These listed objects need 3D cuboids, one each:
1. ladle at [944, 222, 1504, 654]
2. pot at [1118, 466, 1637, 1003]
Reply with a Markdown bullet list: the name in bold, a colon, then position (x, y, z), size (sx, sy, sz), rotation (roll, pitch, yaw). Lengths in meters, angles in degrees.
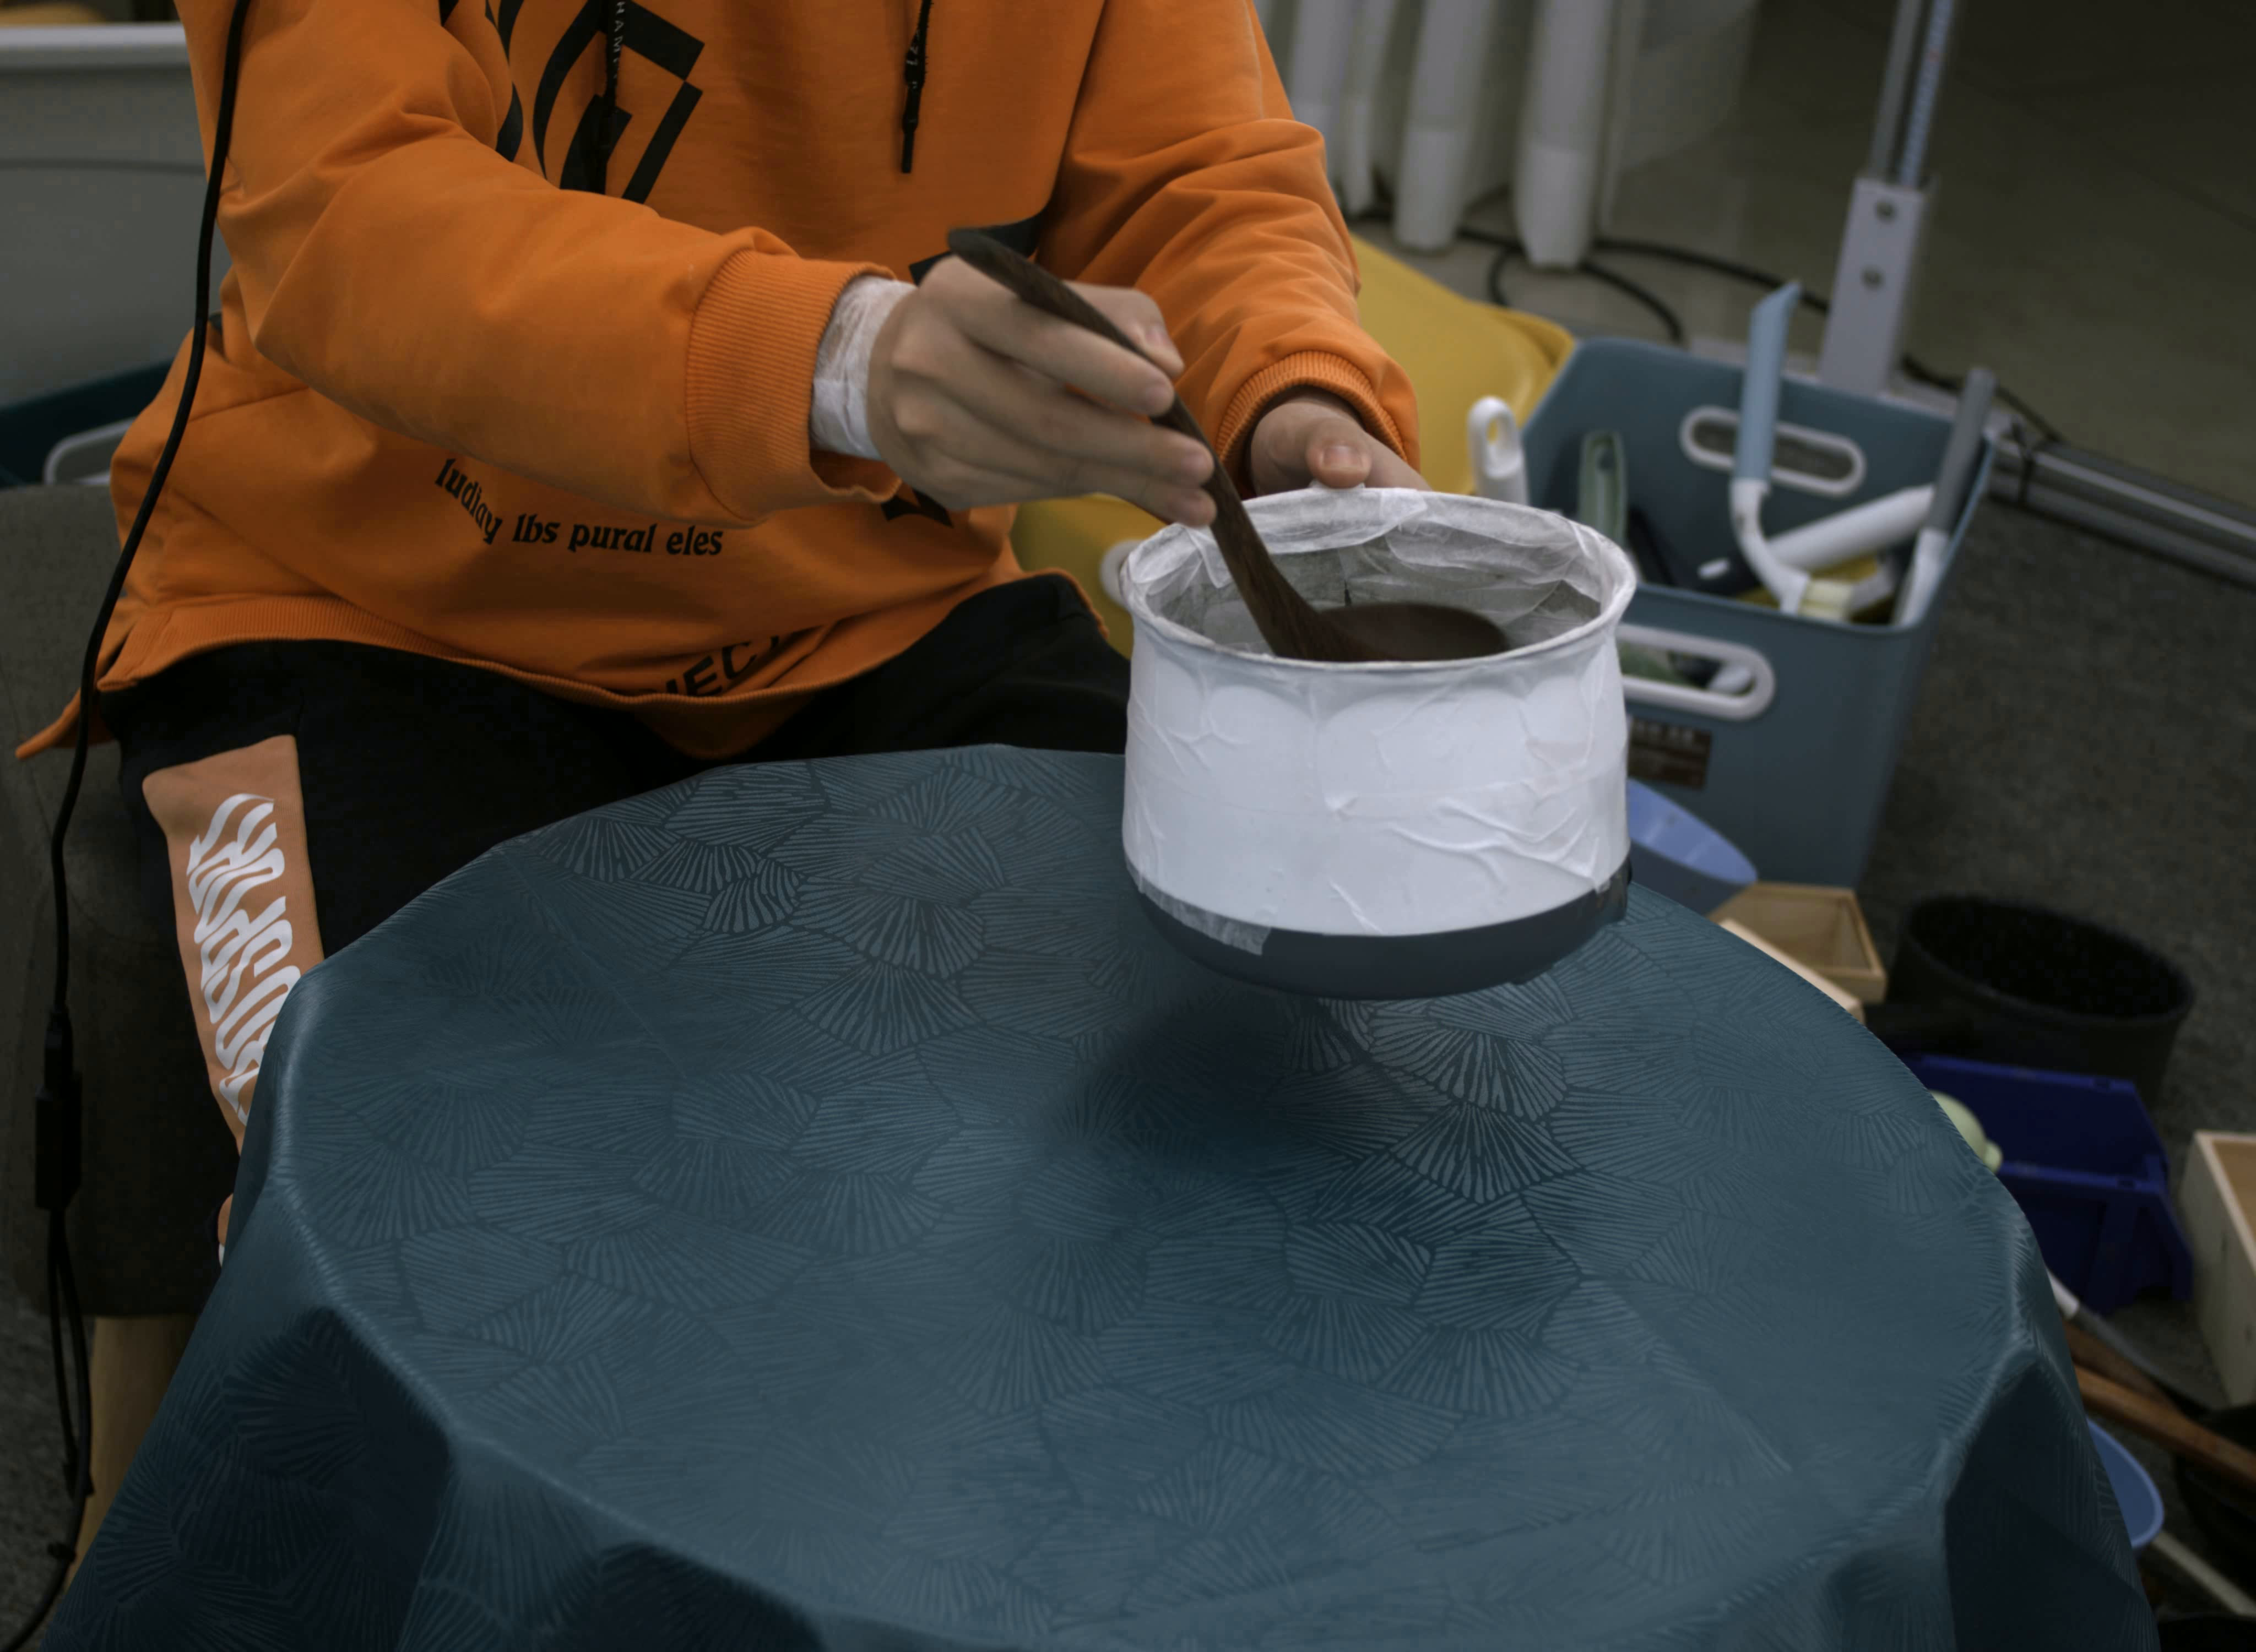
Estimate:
- **ladle**: position (0.036, -0.131, 1.774), size (0.076, 0.271, 0.071), rotation (13, 61, 48)
- **pot**: position (0.082, -0.038, 1.861), size (0.178, 0.136, 0.235), rotation (-3, 23, -6)
